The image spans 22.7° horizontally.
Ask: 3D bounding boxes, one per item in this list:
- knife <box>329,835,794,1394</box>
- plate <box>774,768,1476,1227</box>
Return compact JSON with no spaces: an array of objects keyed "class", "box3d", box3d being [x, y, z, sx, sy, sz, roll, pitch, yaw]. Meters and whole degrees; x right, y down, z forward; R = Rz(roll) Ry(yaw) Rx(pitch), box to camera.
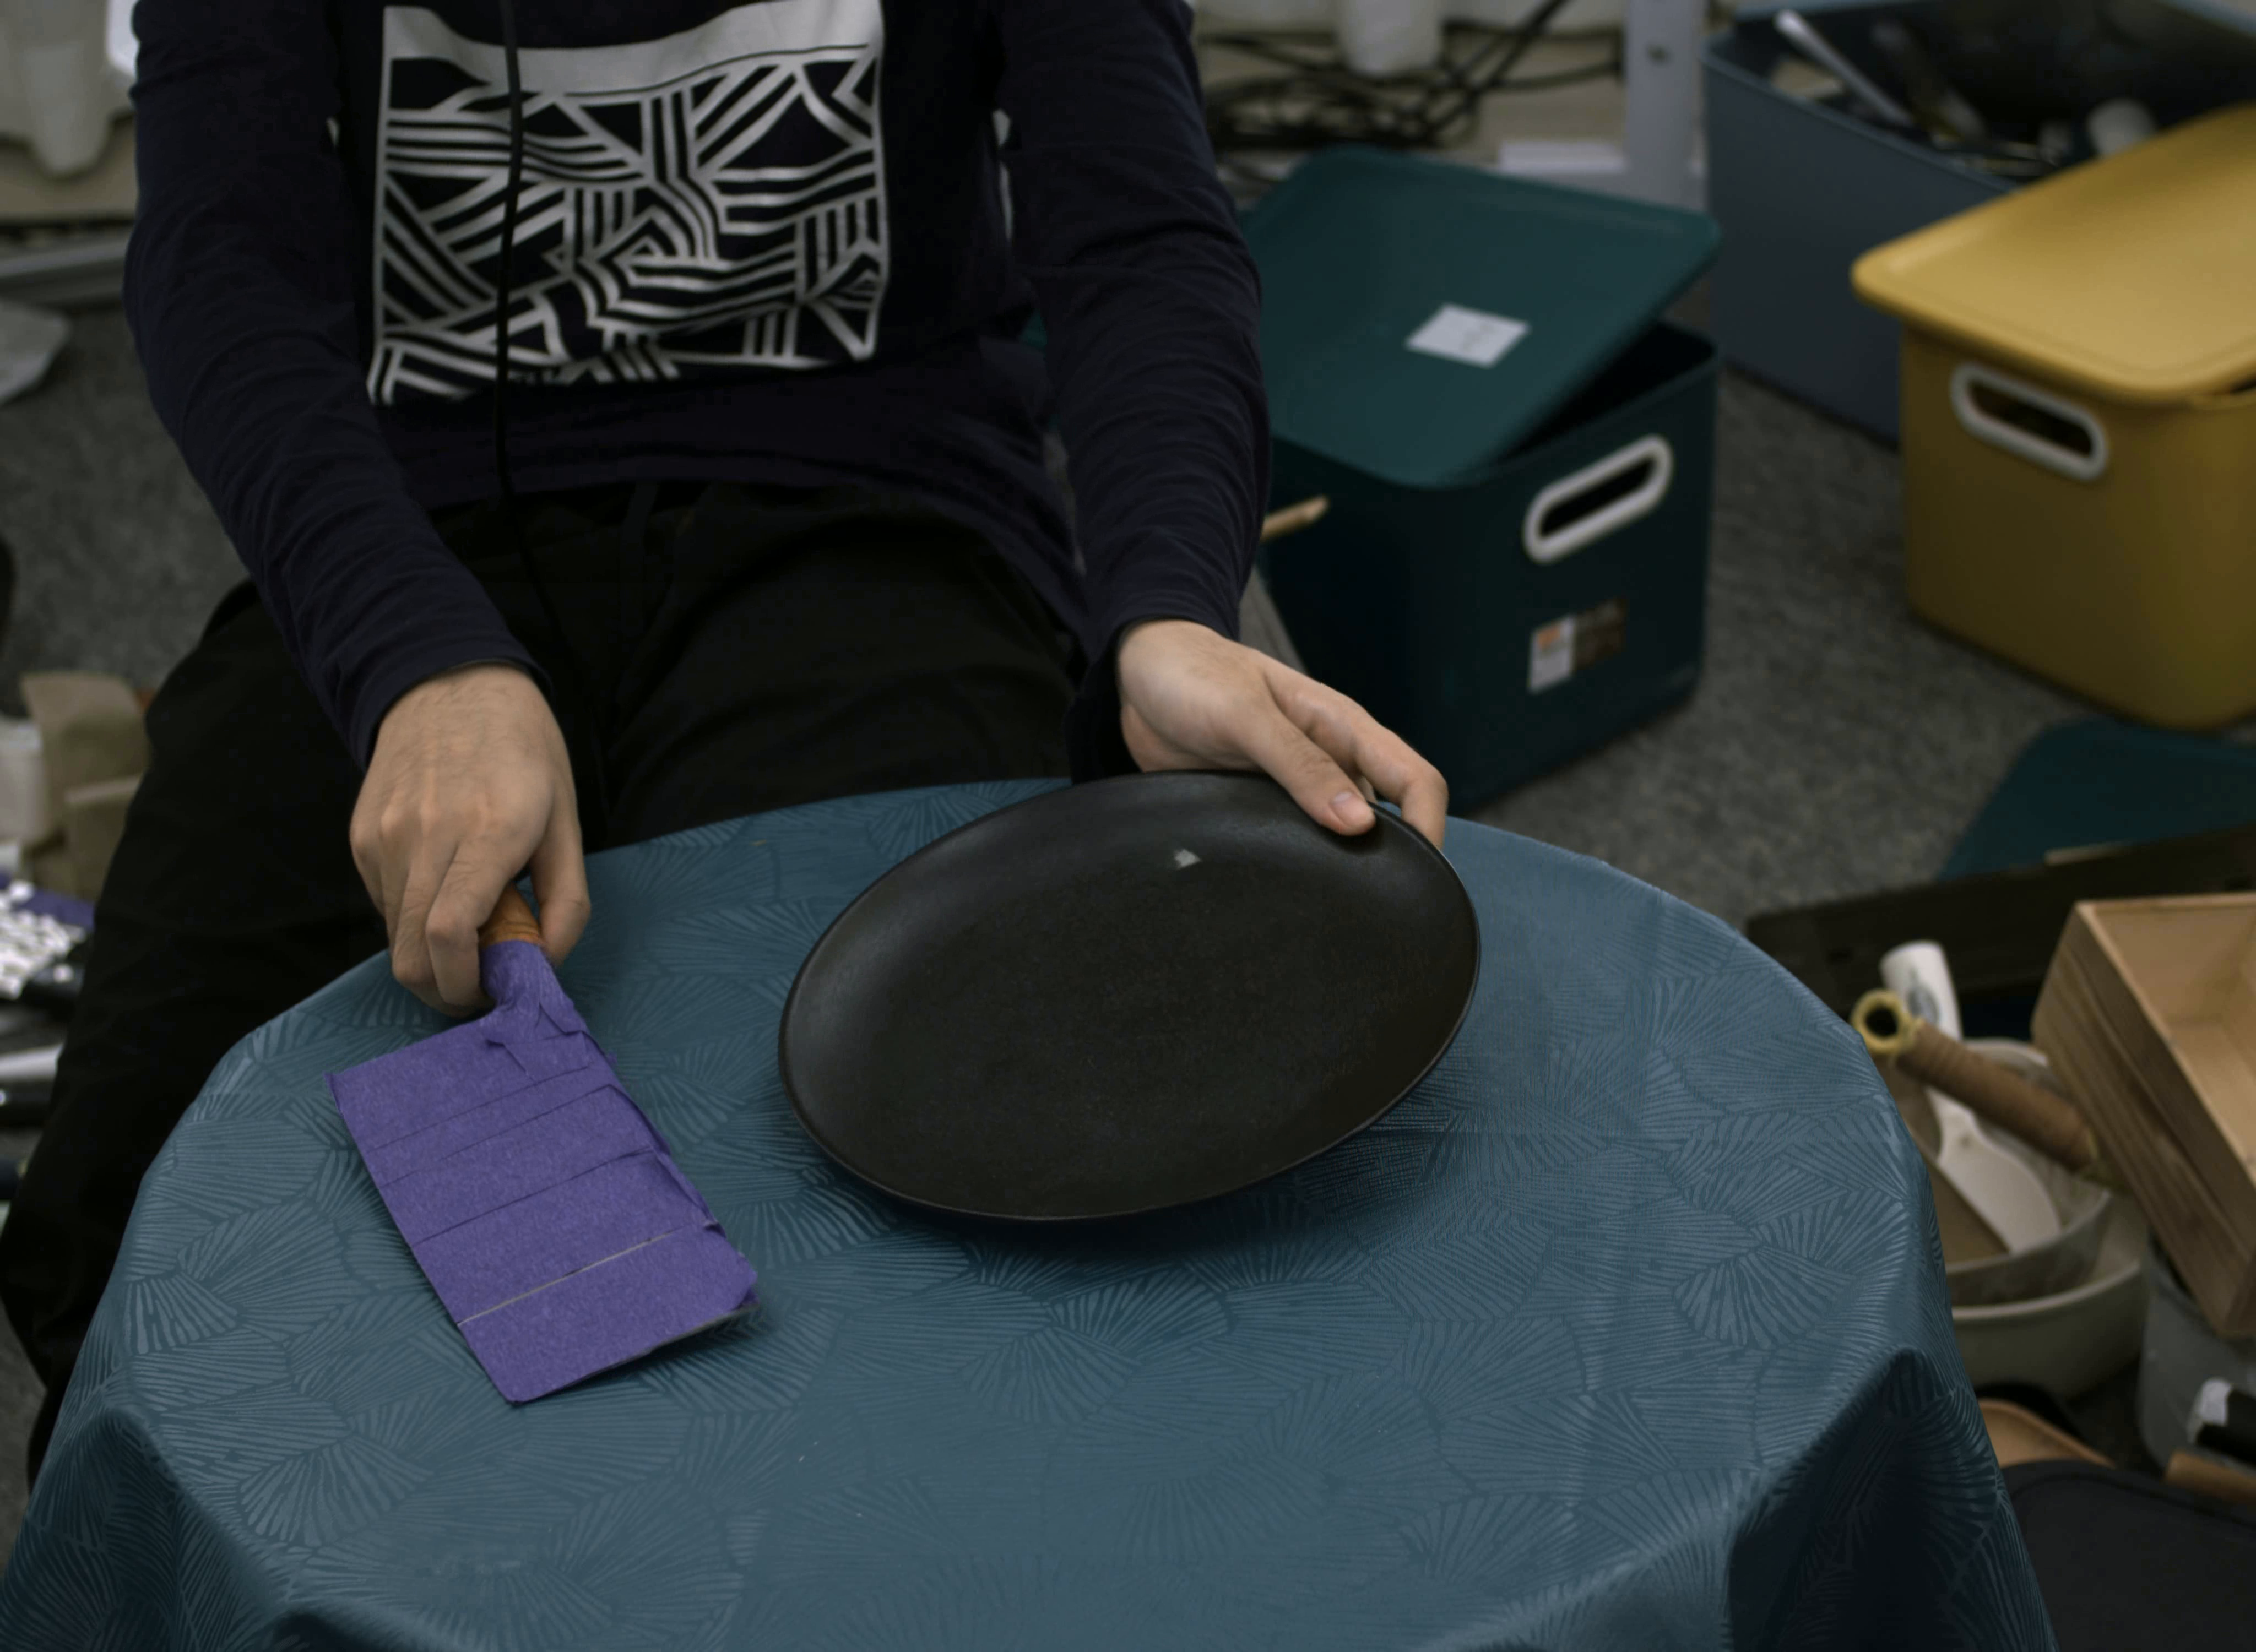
[{"class":"knife","box3d":[-0.215,0.093,1.894,0.104,0.032,0.317,-19,32,-17]},{"class":"plate","box3d":[0.000,0.061,1.914,0.243,0.023,0.249,-9,35,6]}]
